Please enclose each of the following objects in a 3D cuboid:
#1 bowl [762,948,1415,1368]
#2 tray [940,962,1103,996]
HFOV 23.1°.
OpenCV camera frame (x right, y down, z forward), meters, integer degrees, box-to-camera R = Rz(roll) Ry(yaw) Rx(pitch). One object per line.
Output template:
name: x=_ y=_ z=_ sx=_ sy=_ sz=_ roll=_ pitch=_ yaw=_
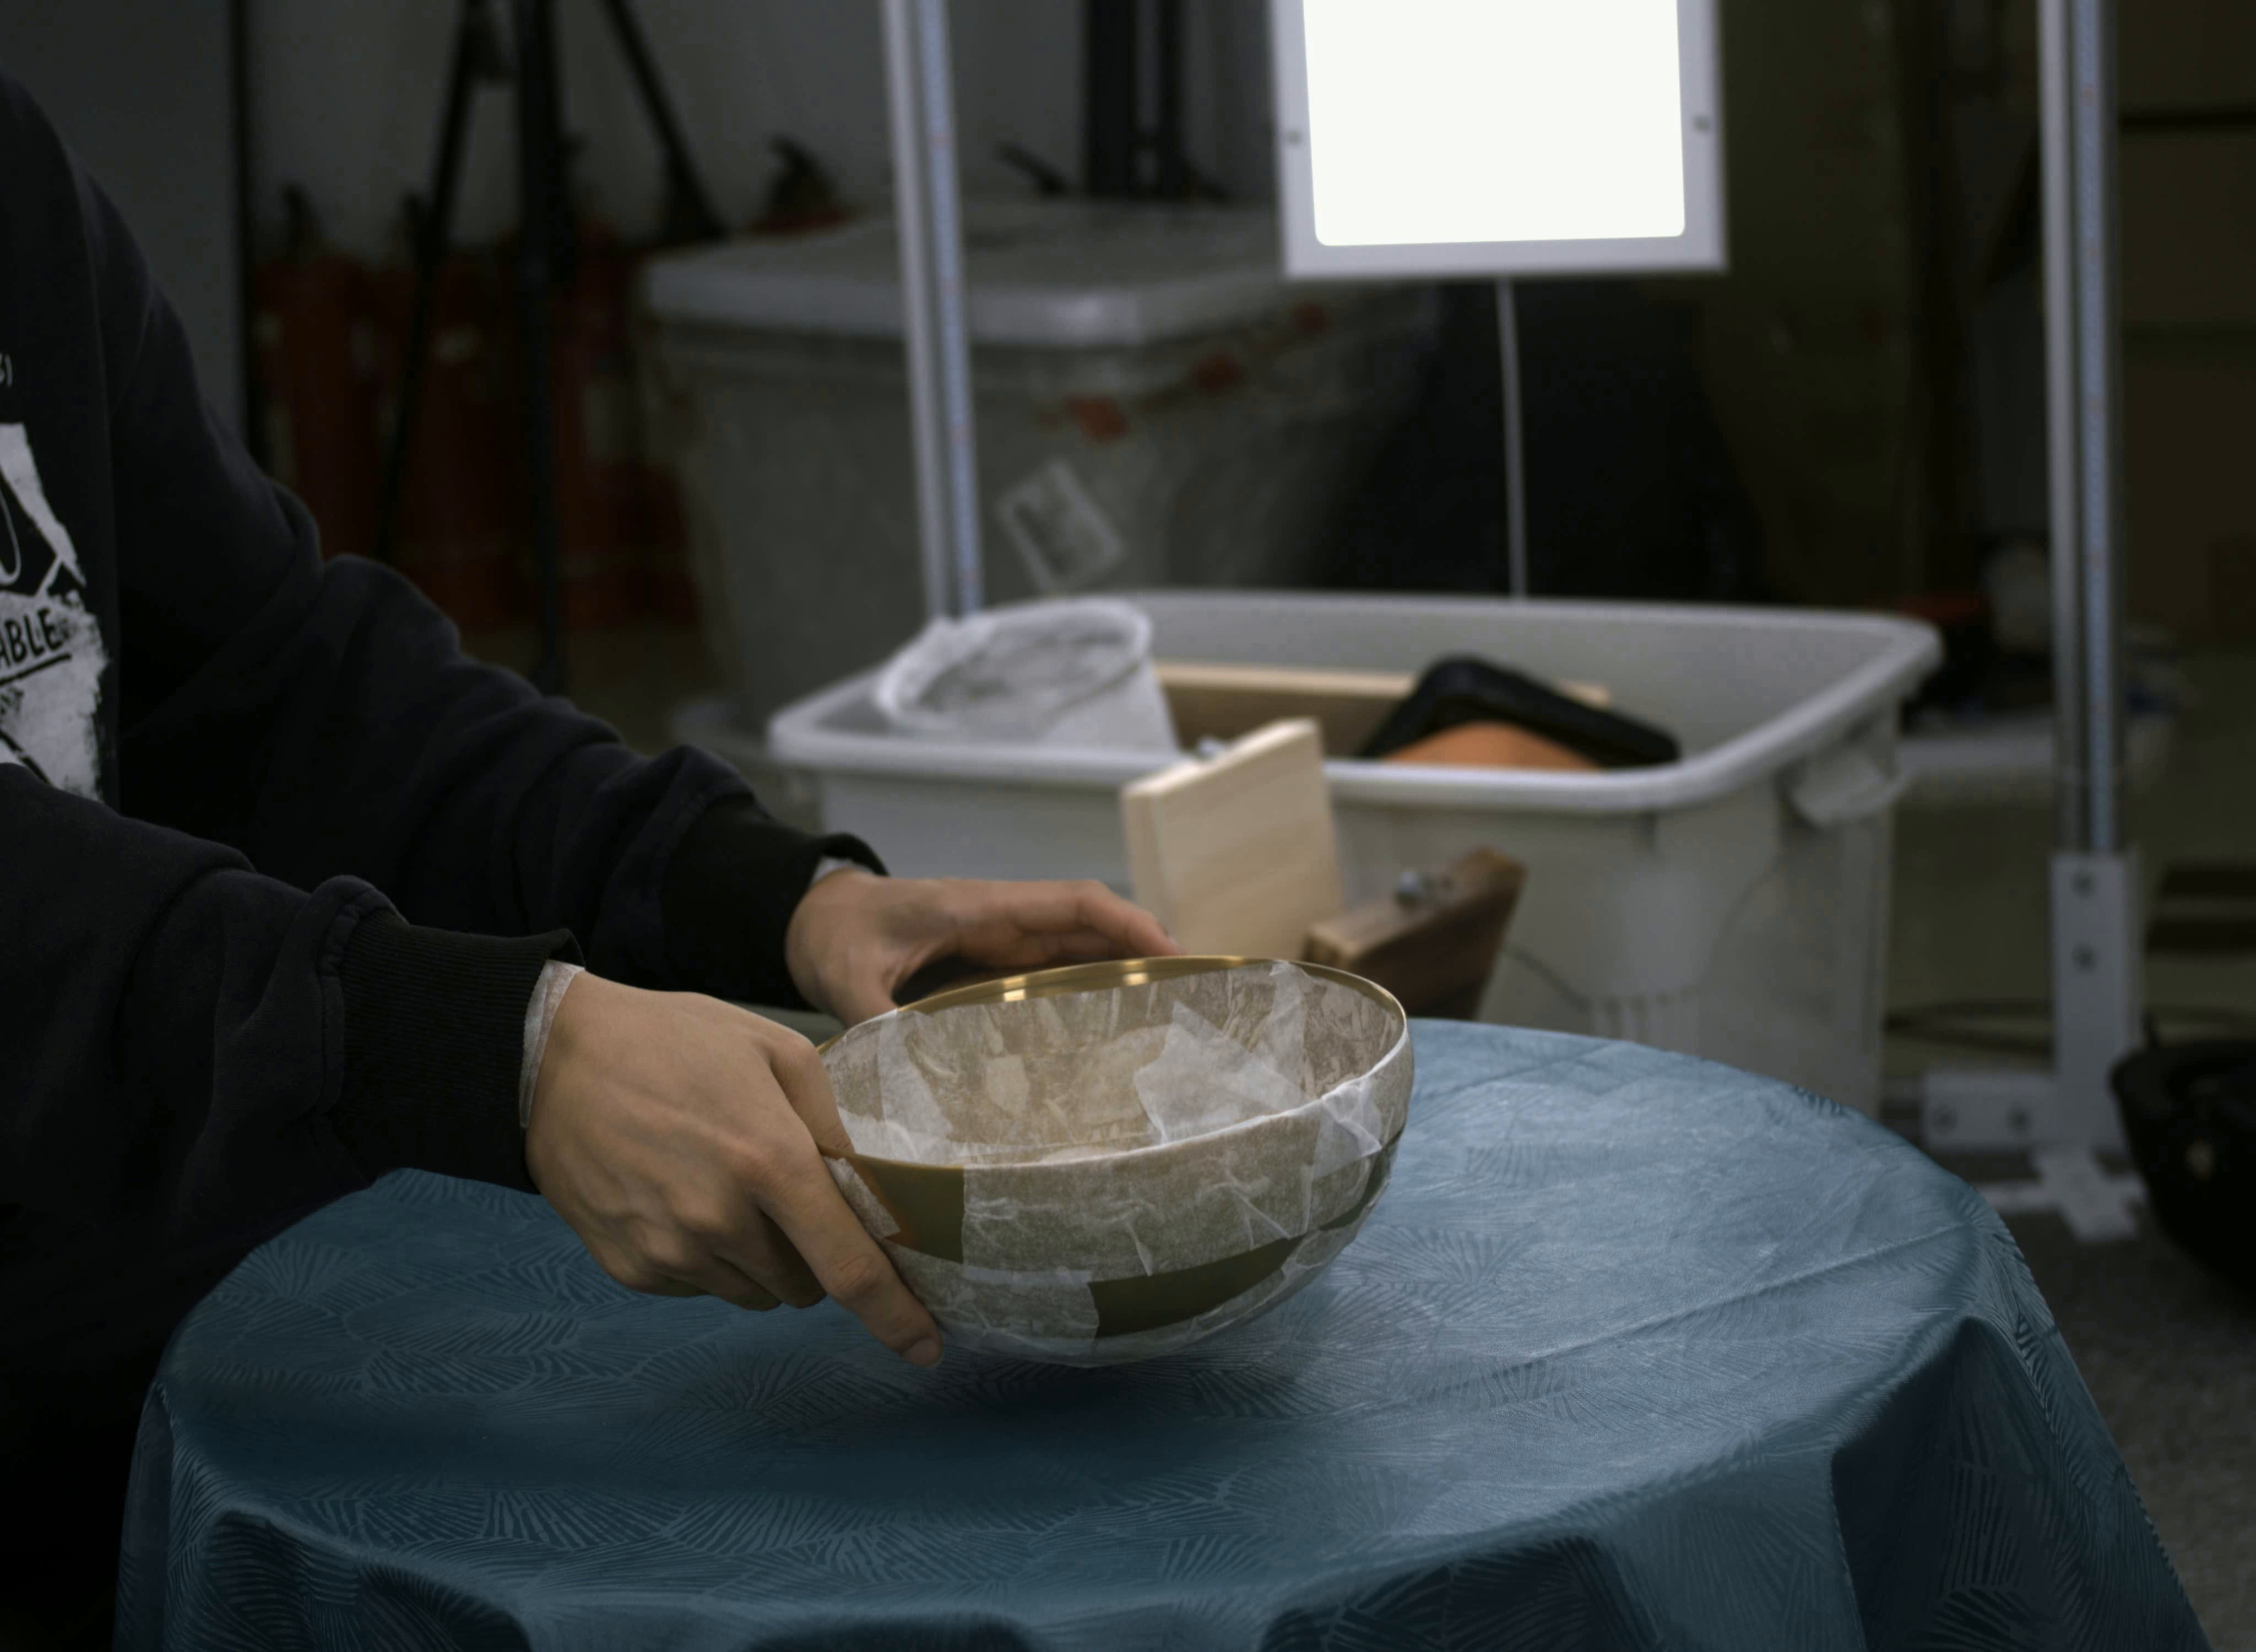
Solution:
bowl: x=-0.006 y=0.111 z=1.722 sx=0.214 sy=0.095 sz=0.214 roll=-9 pitch=16 yaw=1
tray: x=0.000 y=0.096 z=1.936 sx=0.100 sy=0.020 sz=0.234 roll=-16 pitch=25 yaw=-20
